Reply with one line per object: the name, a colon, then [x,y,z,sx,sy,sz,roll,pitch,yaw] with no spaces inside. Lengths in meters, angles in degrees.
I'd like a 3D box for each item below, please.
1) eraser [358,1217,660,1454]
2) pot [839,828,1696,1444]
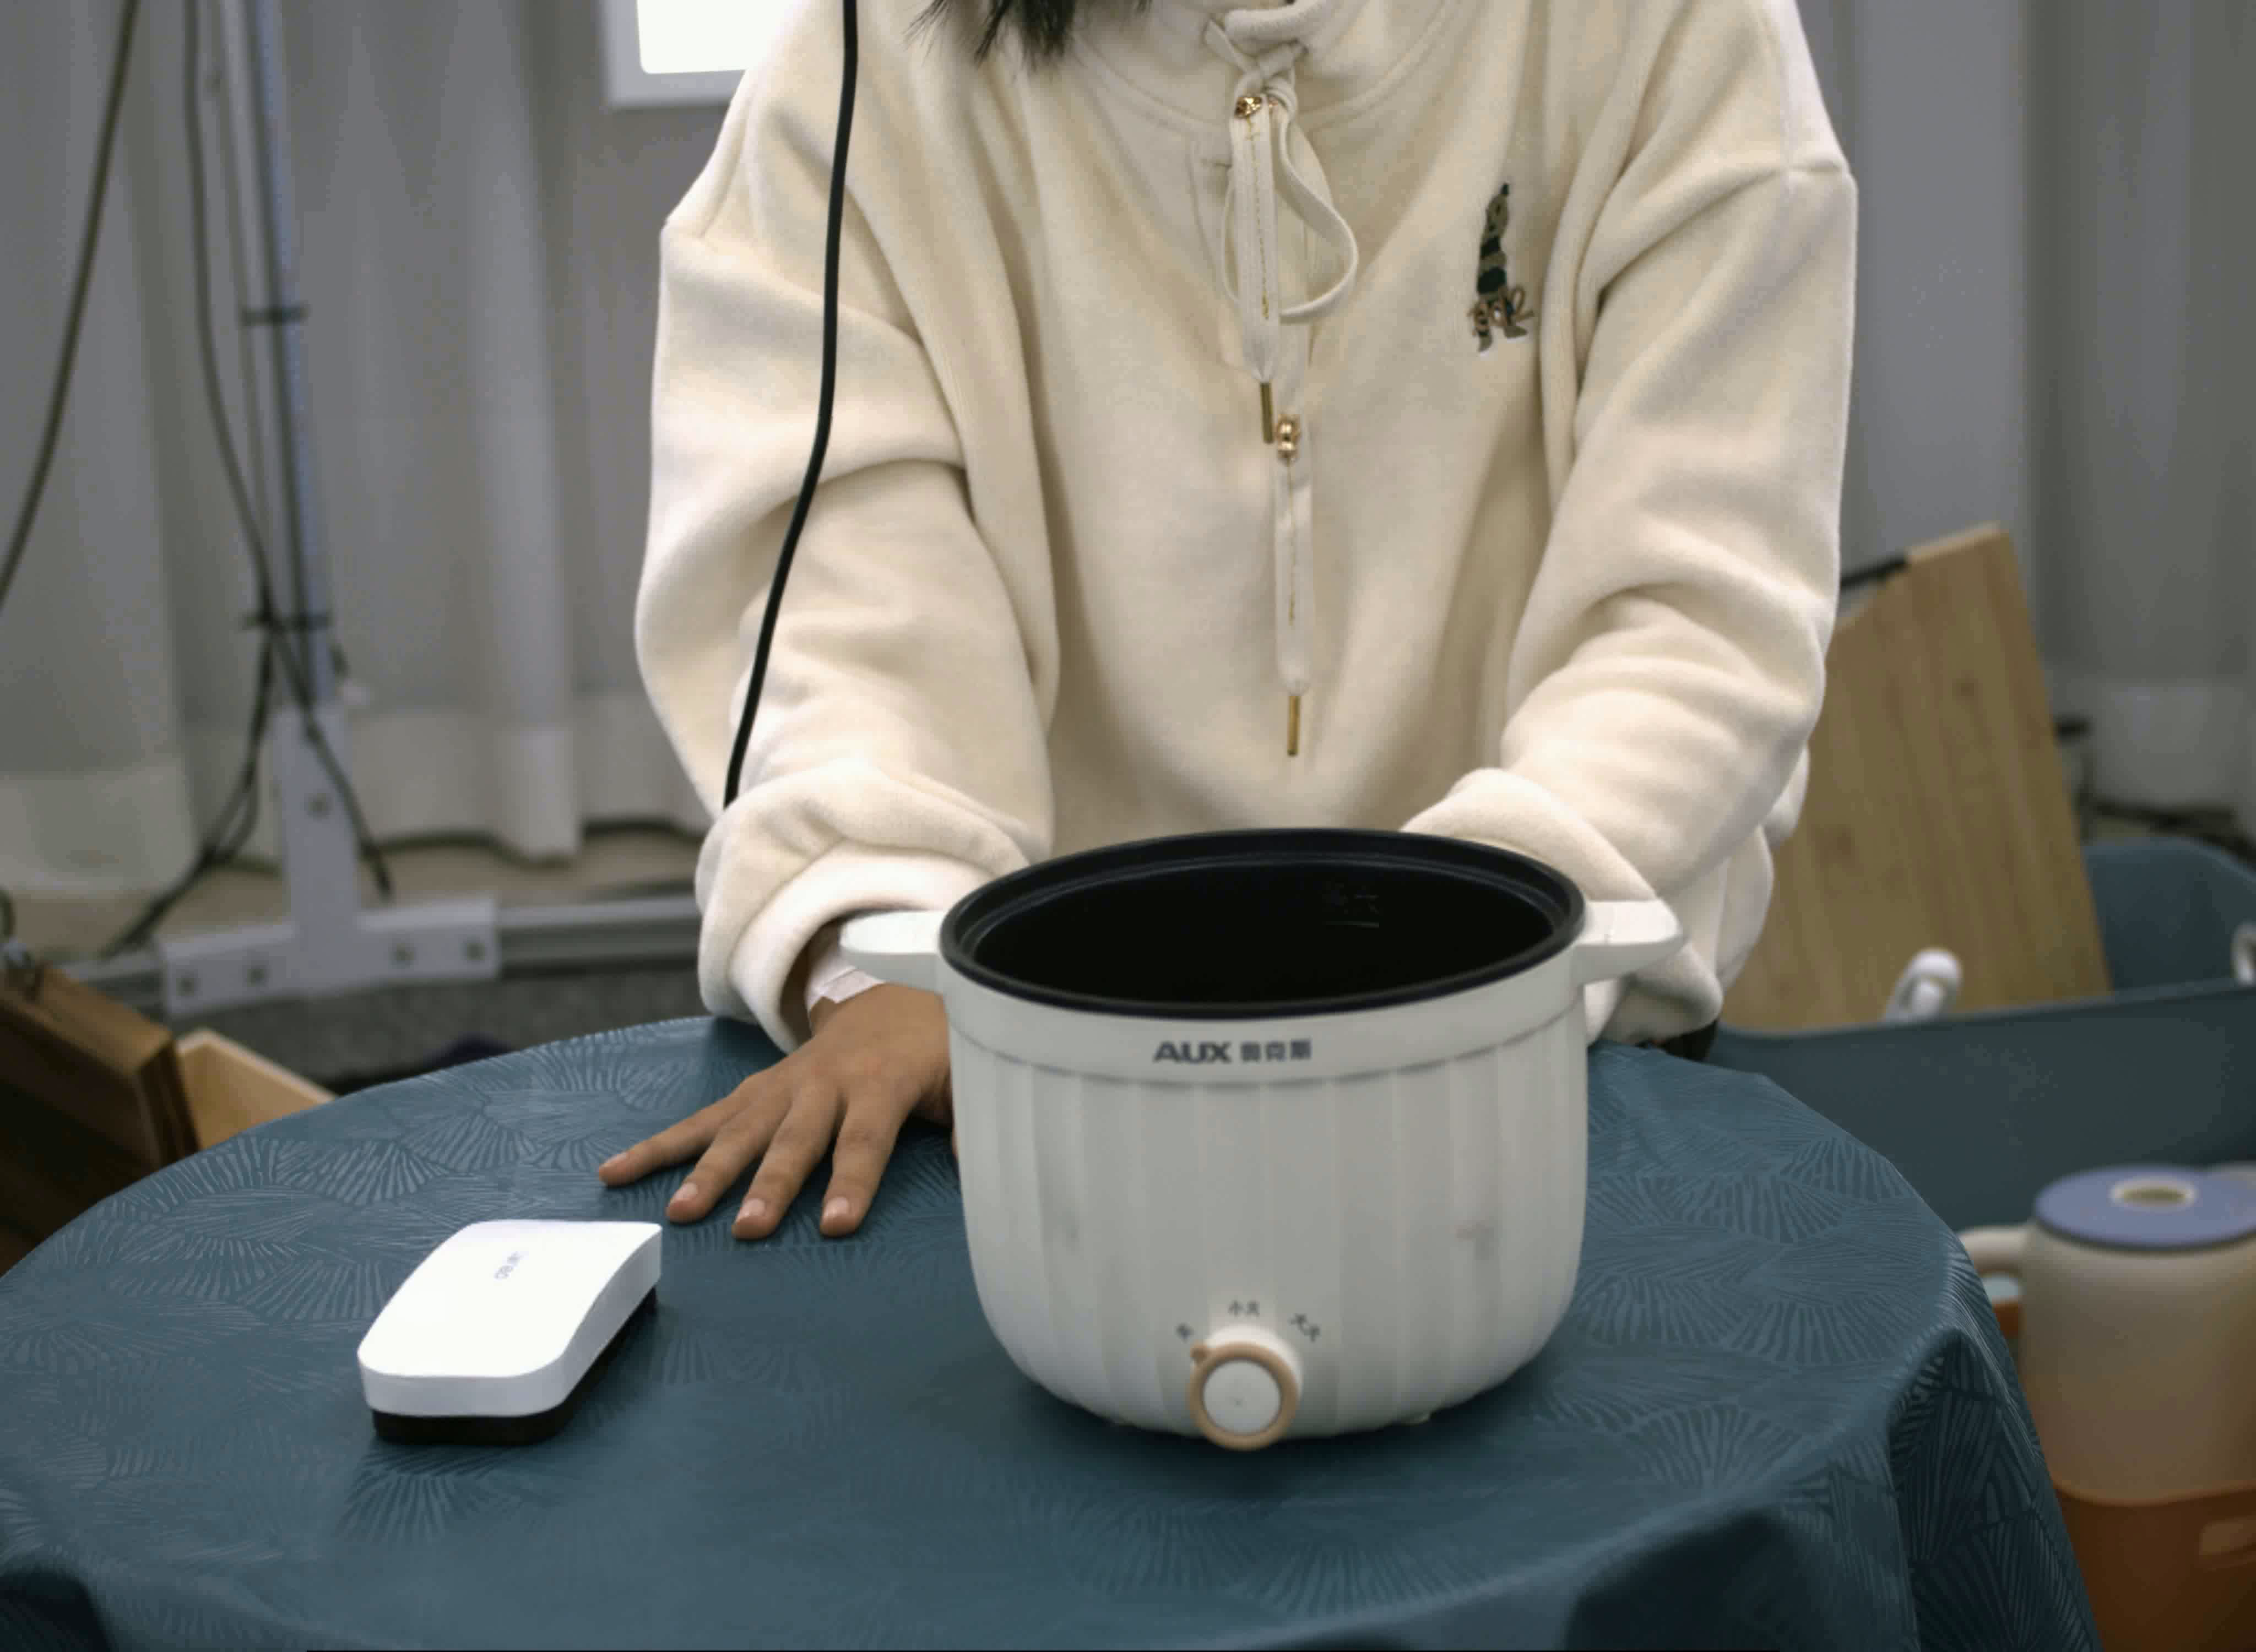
eraser: [-0.176,0.143,1.583,0.063,0.034,0.132,2,16,10]
pot: [0.041,0.089,1.533,0.240,0.142,0.191,-2,11,7]
